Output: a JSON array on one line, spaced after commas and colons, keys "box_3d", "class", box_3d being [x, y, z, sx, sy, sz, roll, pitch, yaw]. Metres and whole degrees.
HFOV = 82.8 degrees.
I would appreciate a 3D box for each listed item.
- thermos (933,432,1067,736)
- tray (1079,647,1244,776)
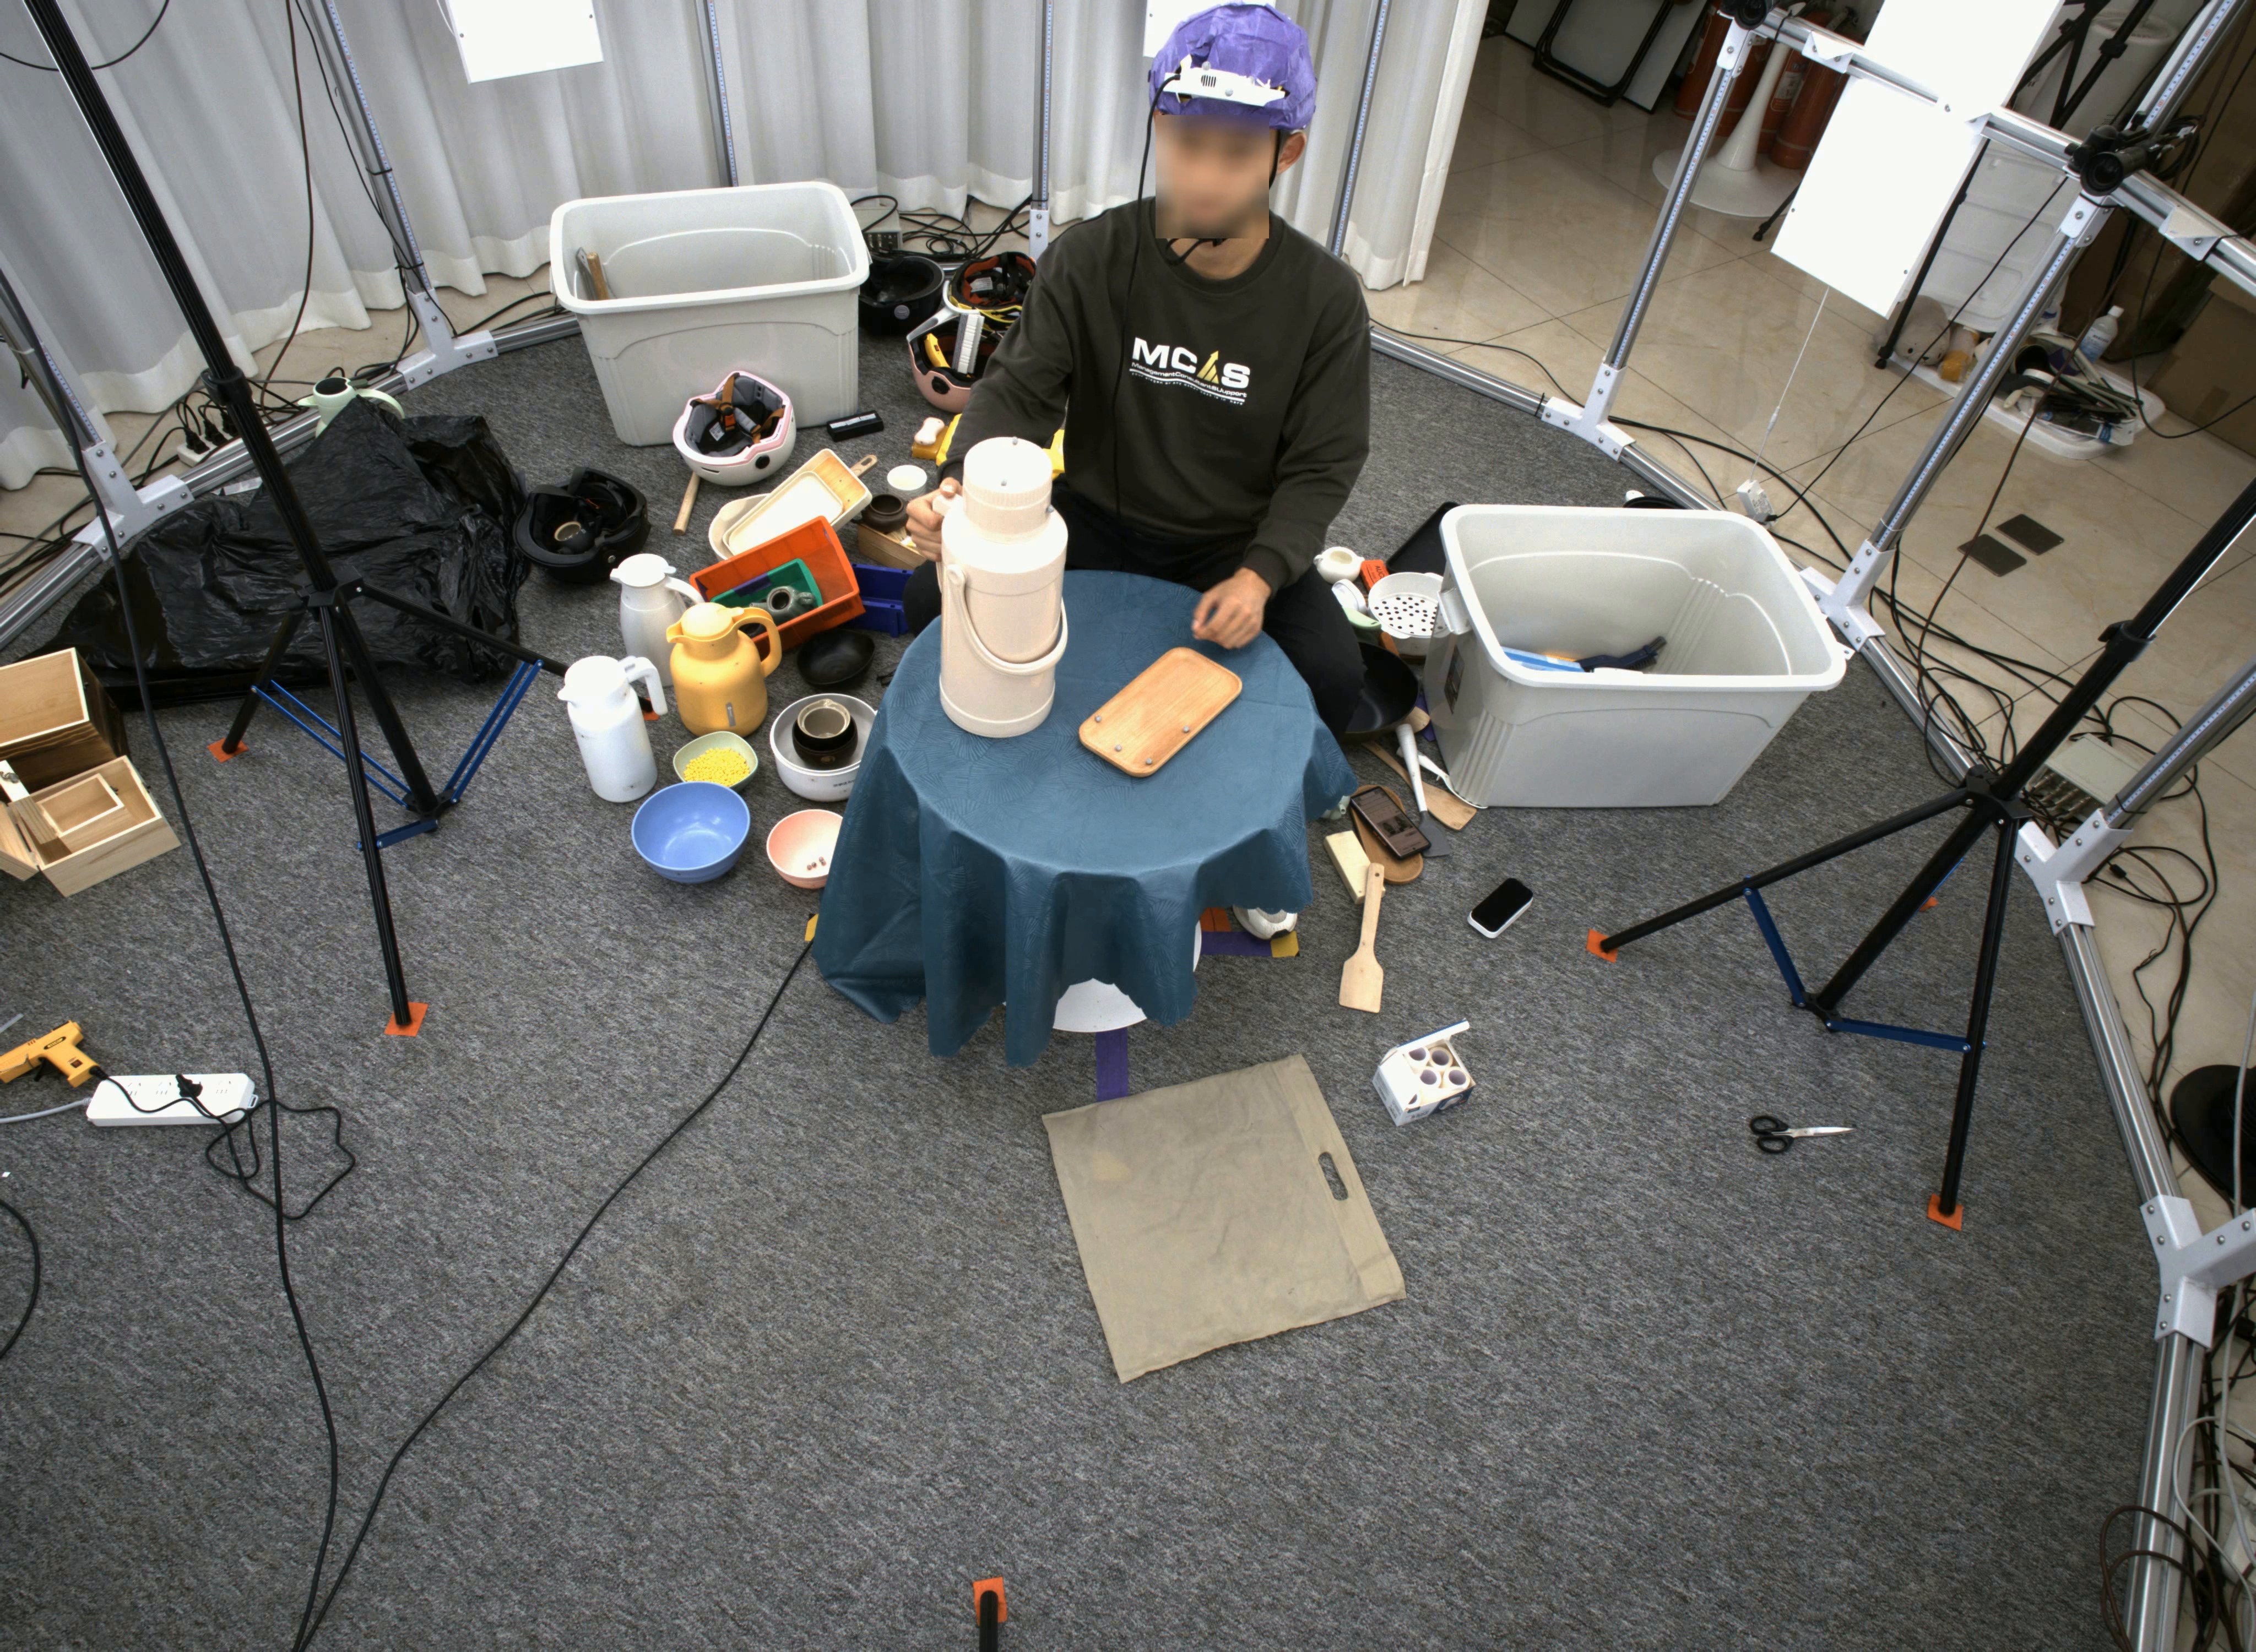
[{"box_3d": [-0.170, -0.314, 1.665, 0.209, 0.397, 0.177, 36, 57, 21], "class": "thermos"}, {"box_3d": [0.049, -0.163, 1.799, 0.132, 0.022, 0.253, 35, 54, 21], "class": "tray"}]
